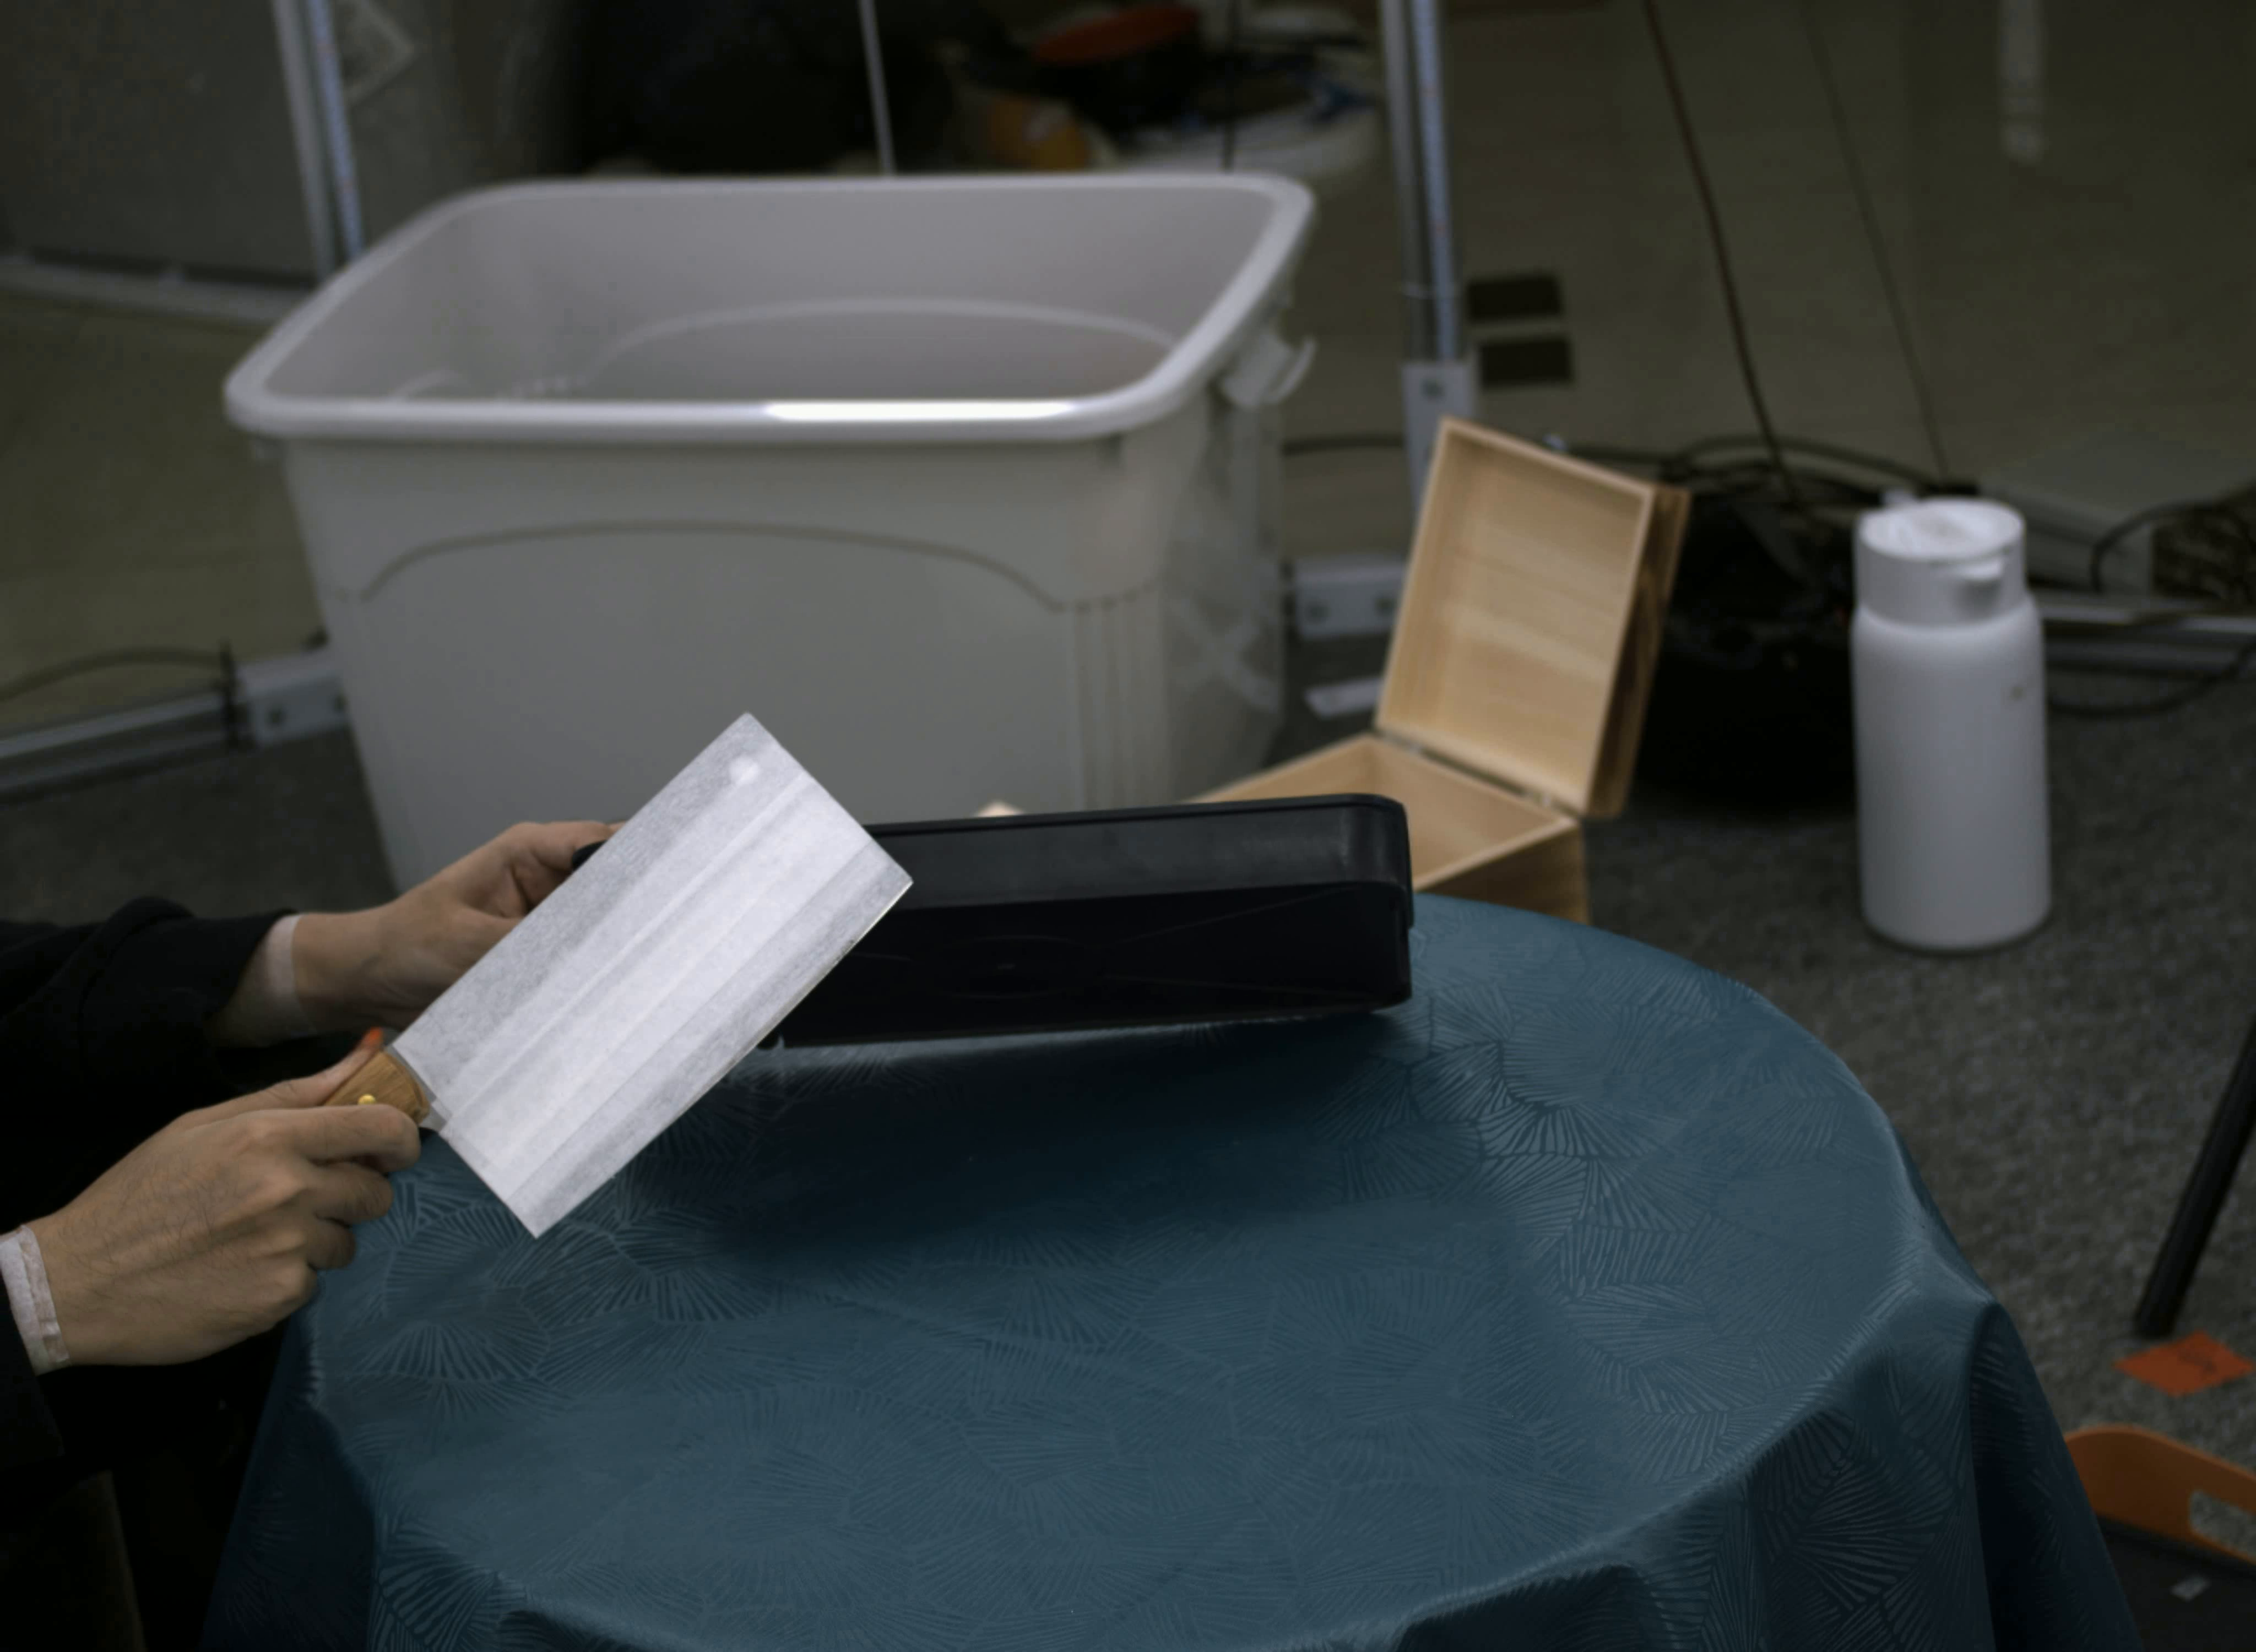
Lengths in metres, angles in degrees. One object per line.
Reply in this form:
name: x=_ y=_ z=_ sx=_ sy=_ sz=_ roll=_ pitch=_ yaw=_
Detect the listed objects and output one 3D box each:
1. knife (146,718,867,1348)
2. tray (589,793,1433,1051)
knife: x=-0.218 y=0.091 z=2.052 sx=0.305 sy=0.093 sz=0.021 roll=-44 pitch=-3 yaw=-7
tray: x=-0.041 y=0.039 z=2.187 sx=0.317 sy=0.037 sz=0.186 roll=-3 pitch=-17 yaw=1
